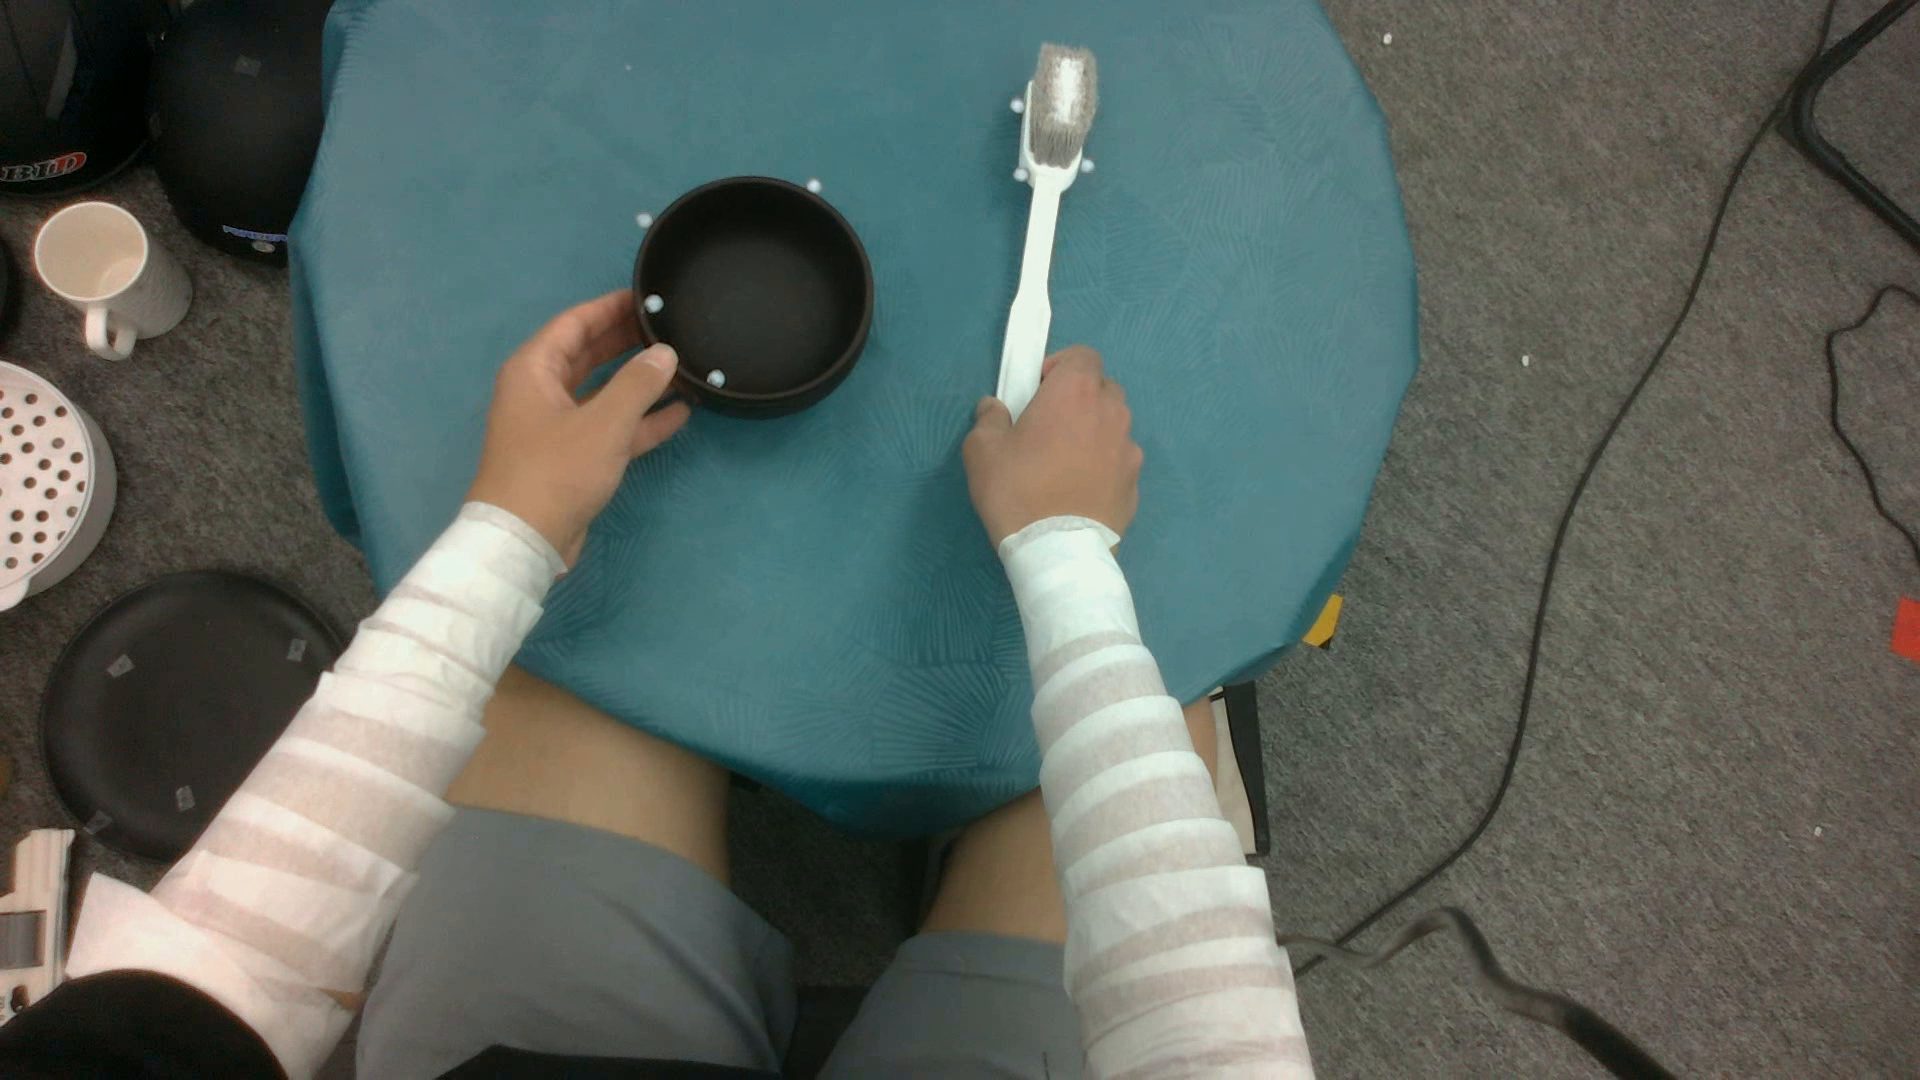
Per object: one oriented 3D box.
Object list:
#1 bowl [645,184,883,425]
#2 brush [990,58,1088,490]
[{"bbox_3d":[-0.100,-0.115,0.706,0.118,0.069,0.118,2,80,-10],"label":"bowl"},{"bbox_3d":[0.042,-0.149,0.747,0.034,0.050,0.244,8,76,-5],"label":"brush"}]
